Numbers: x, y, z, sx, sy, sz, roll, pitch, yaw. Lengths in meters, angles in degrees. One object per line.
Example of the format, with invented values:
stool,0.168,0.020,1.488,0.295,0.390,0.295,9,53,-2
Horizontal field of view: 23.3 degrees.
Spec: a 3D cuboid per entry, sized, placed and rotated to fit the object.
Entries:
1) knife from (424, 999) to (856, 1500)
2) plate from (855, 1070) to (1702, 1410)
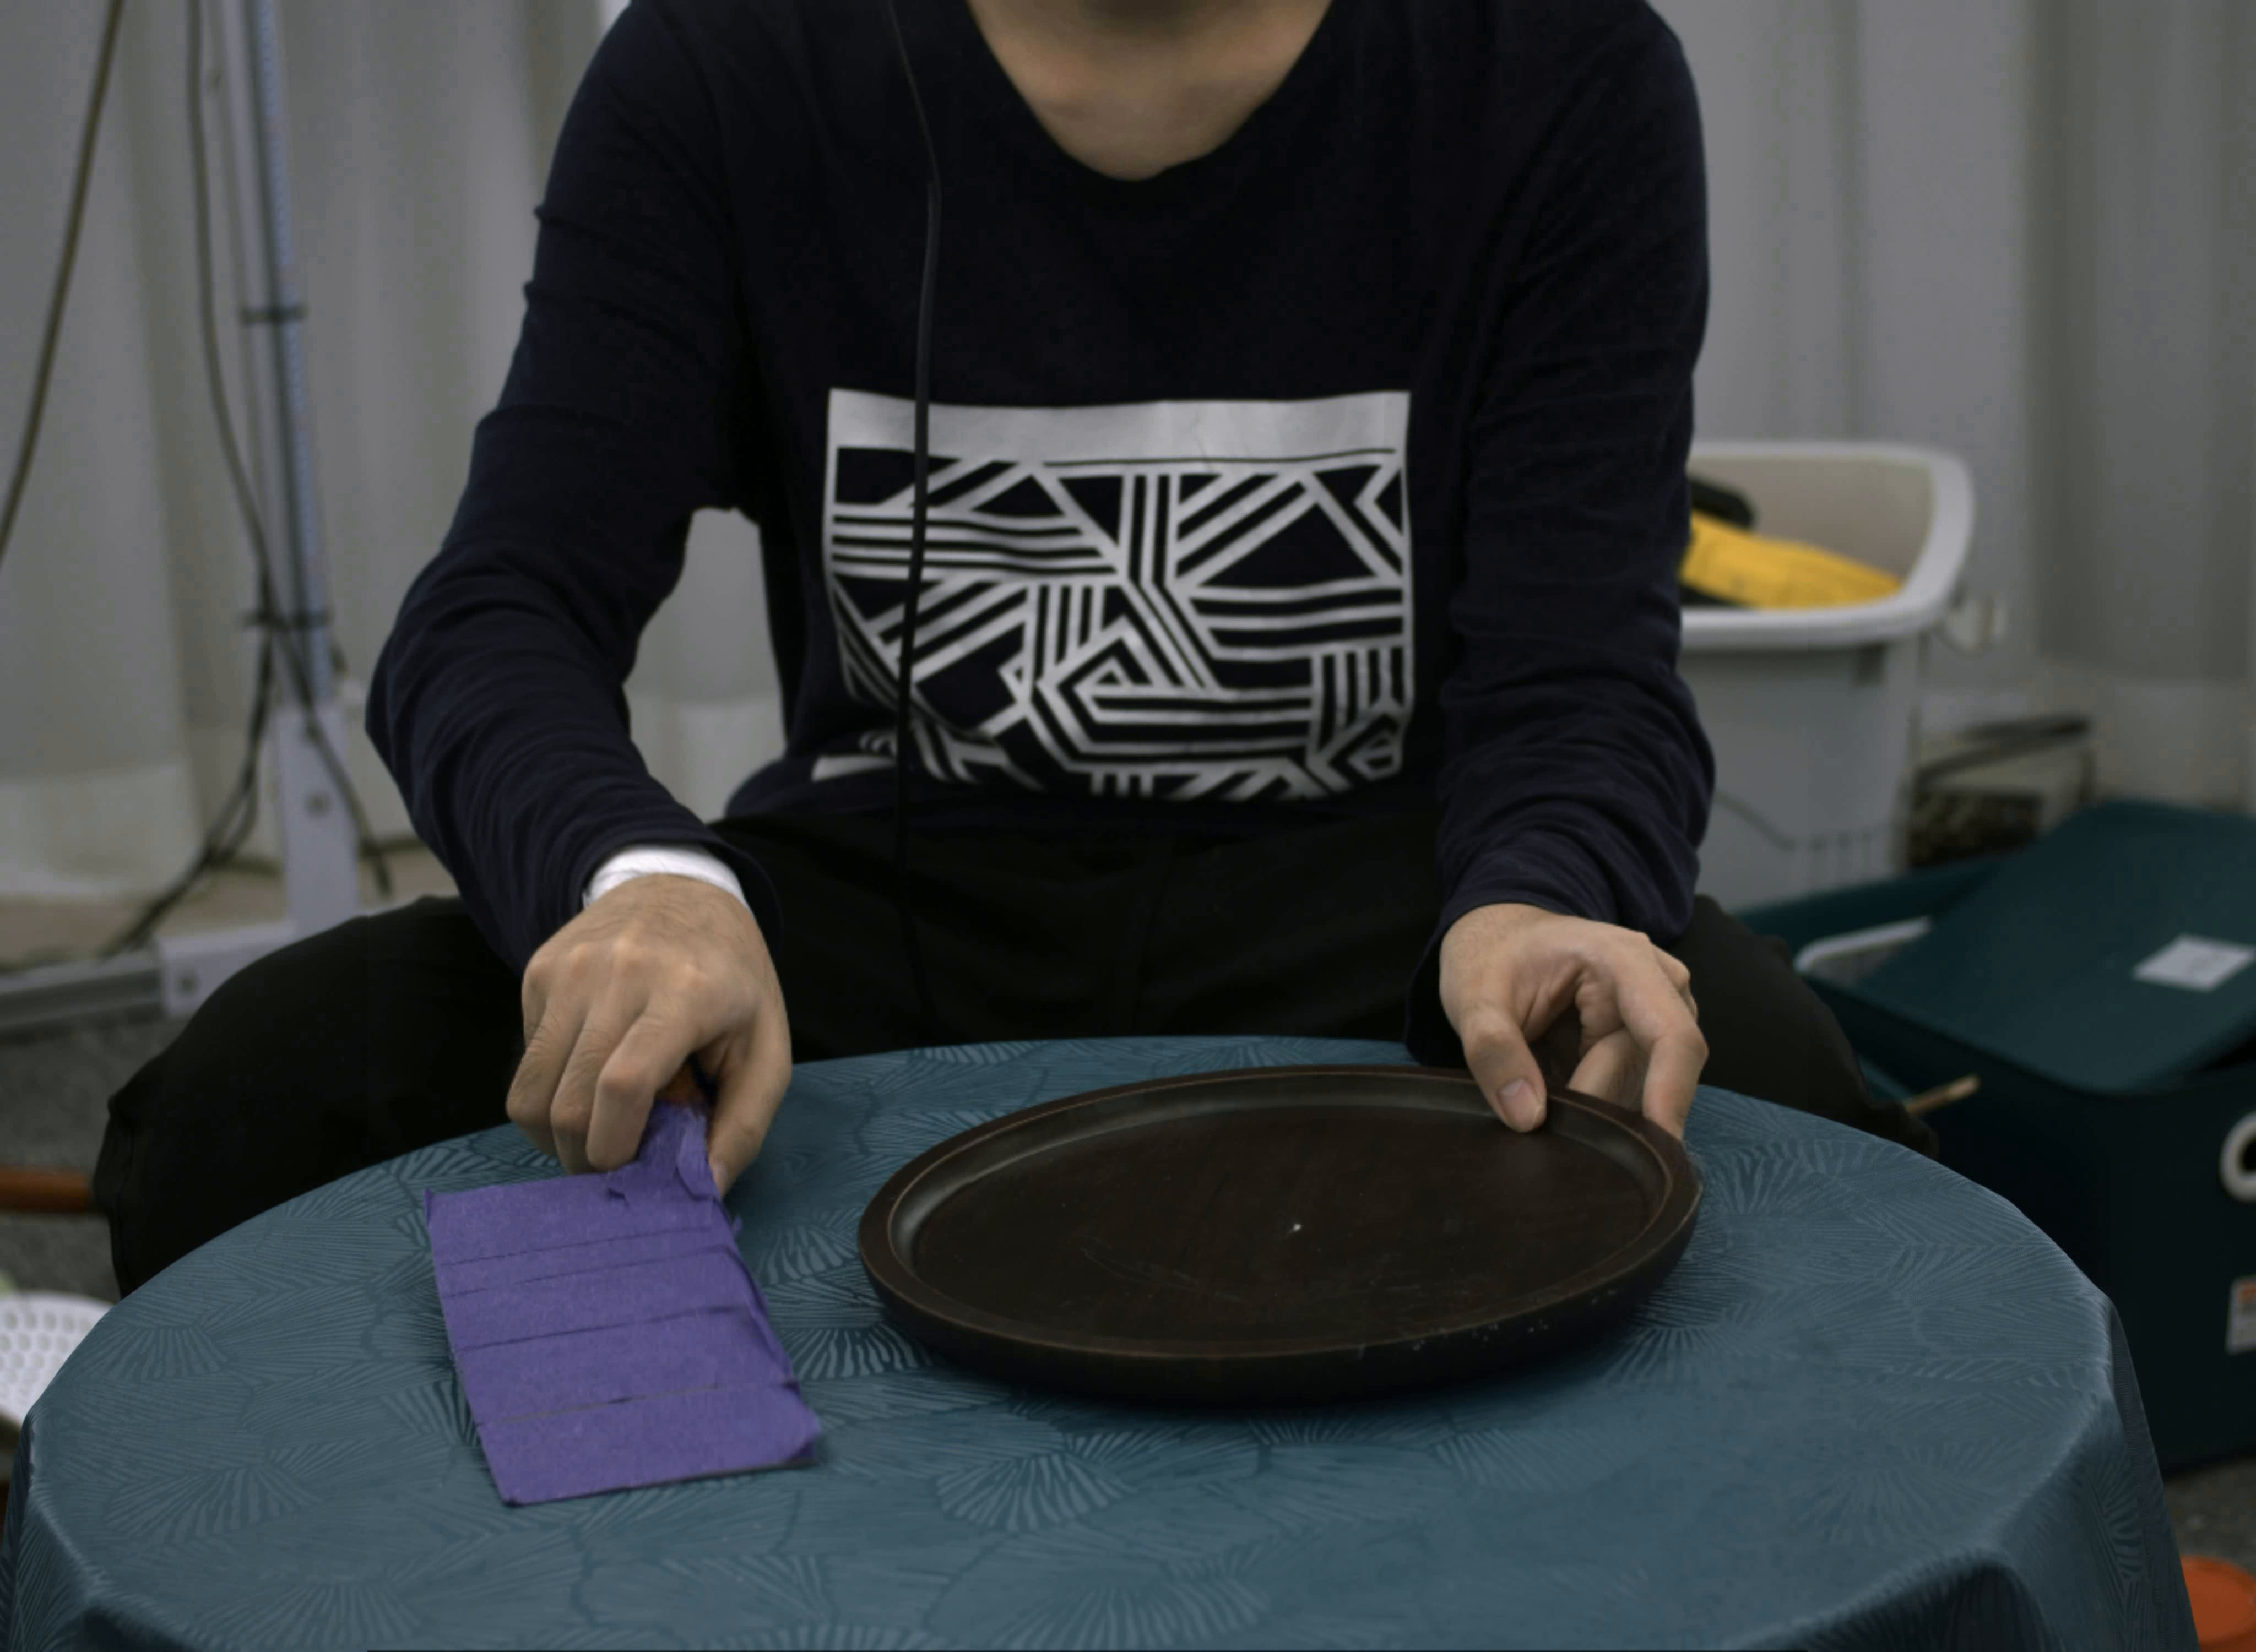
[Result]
knife,-0.160,0.121,1.631,0.103,0.032,0.318,-8,19,-11
plate,0.045,0.120,1.629,0.254,0.029,0.257,-4,17,1
